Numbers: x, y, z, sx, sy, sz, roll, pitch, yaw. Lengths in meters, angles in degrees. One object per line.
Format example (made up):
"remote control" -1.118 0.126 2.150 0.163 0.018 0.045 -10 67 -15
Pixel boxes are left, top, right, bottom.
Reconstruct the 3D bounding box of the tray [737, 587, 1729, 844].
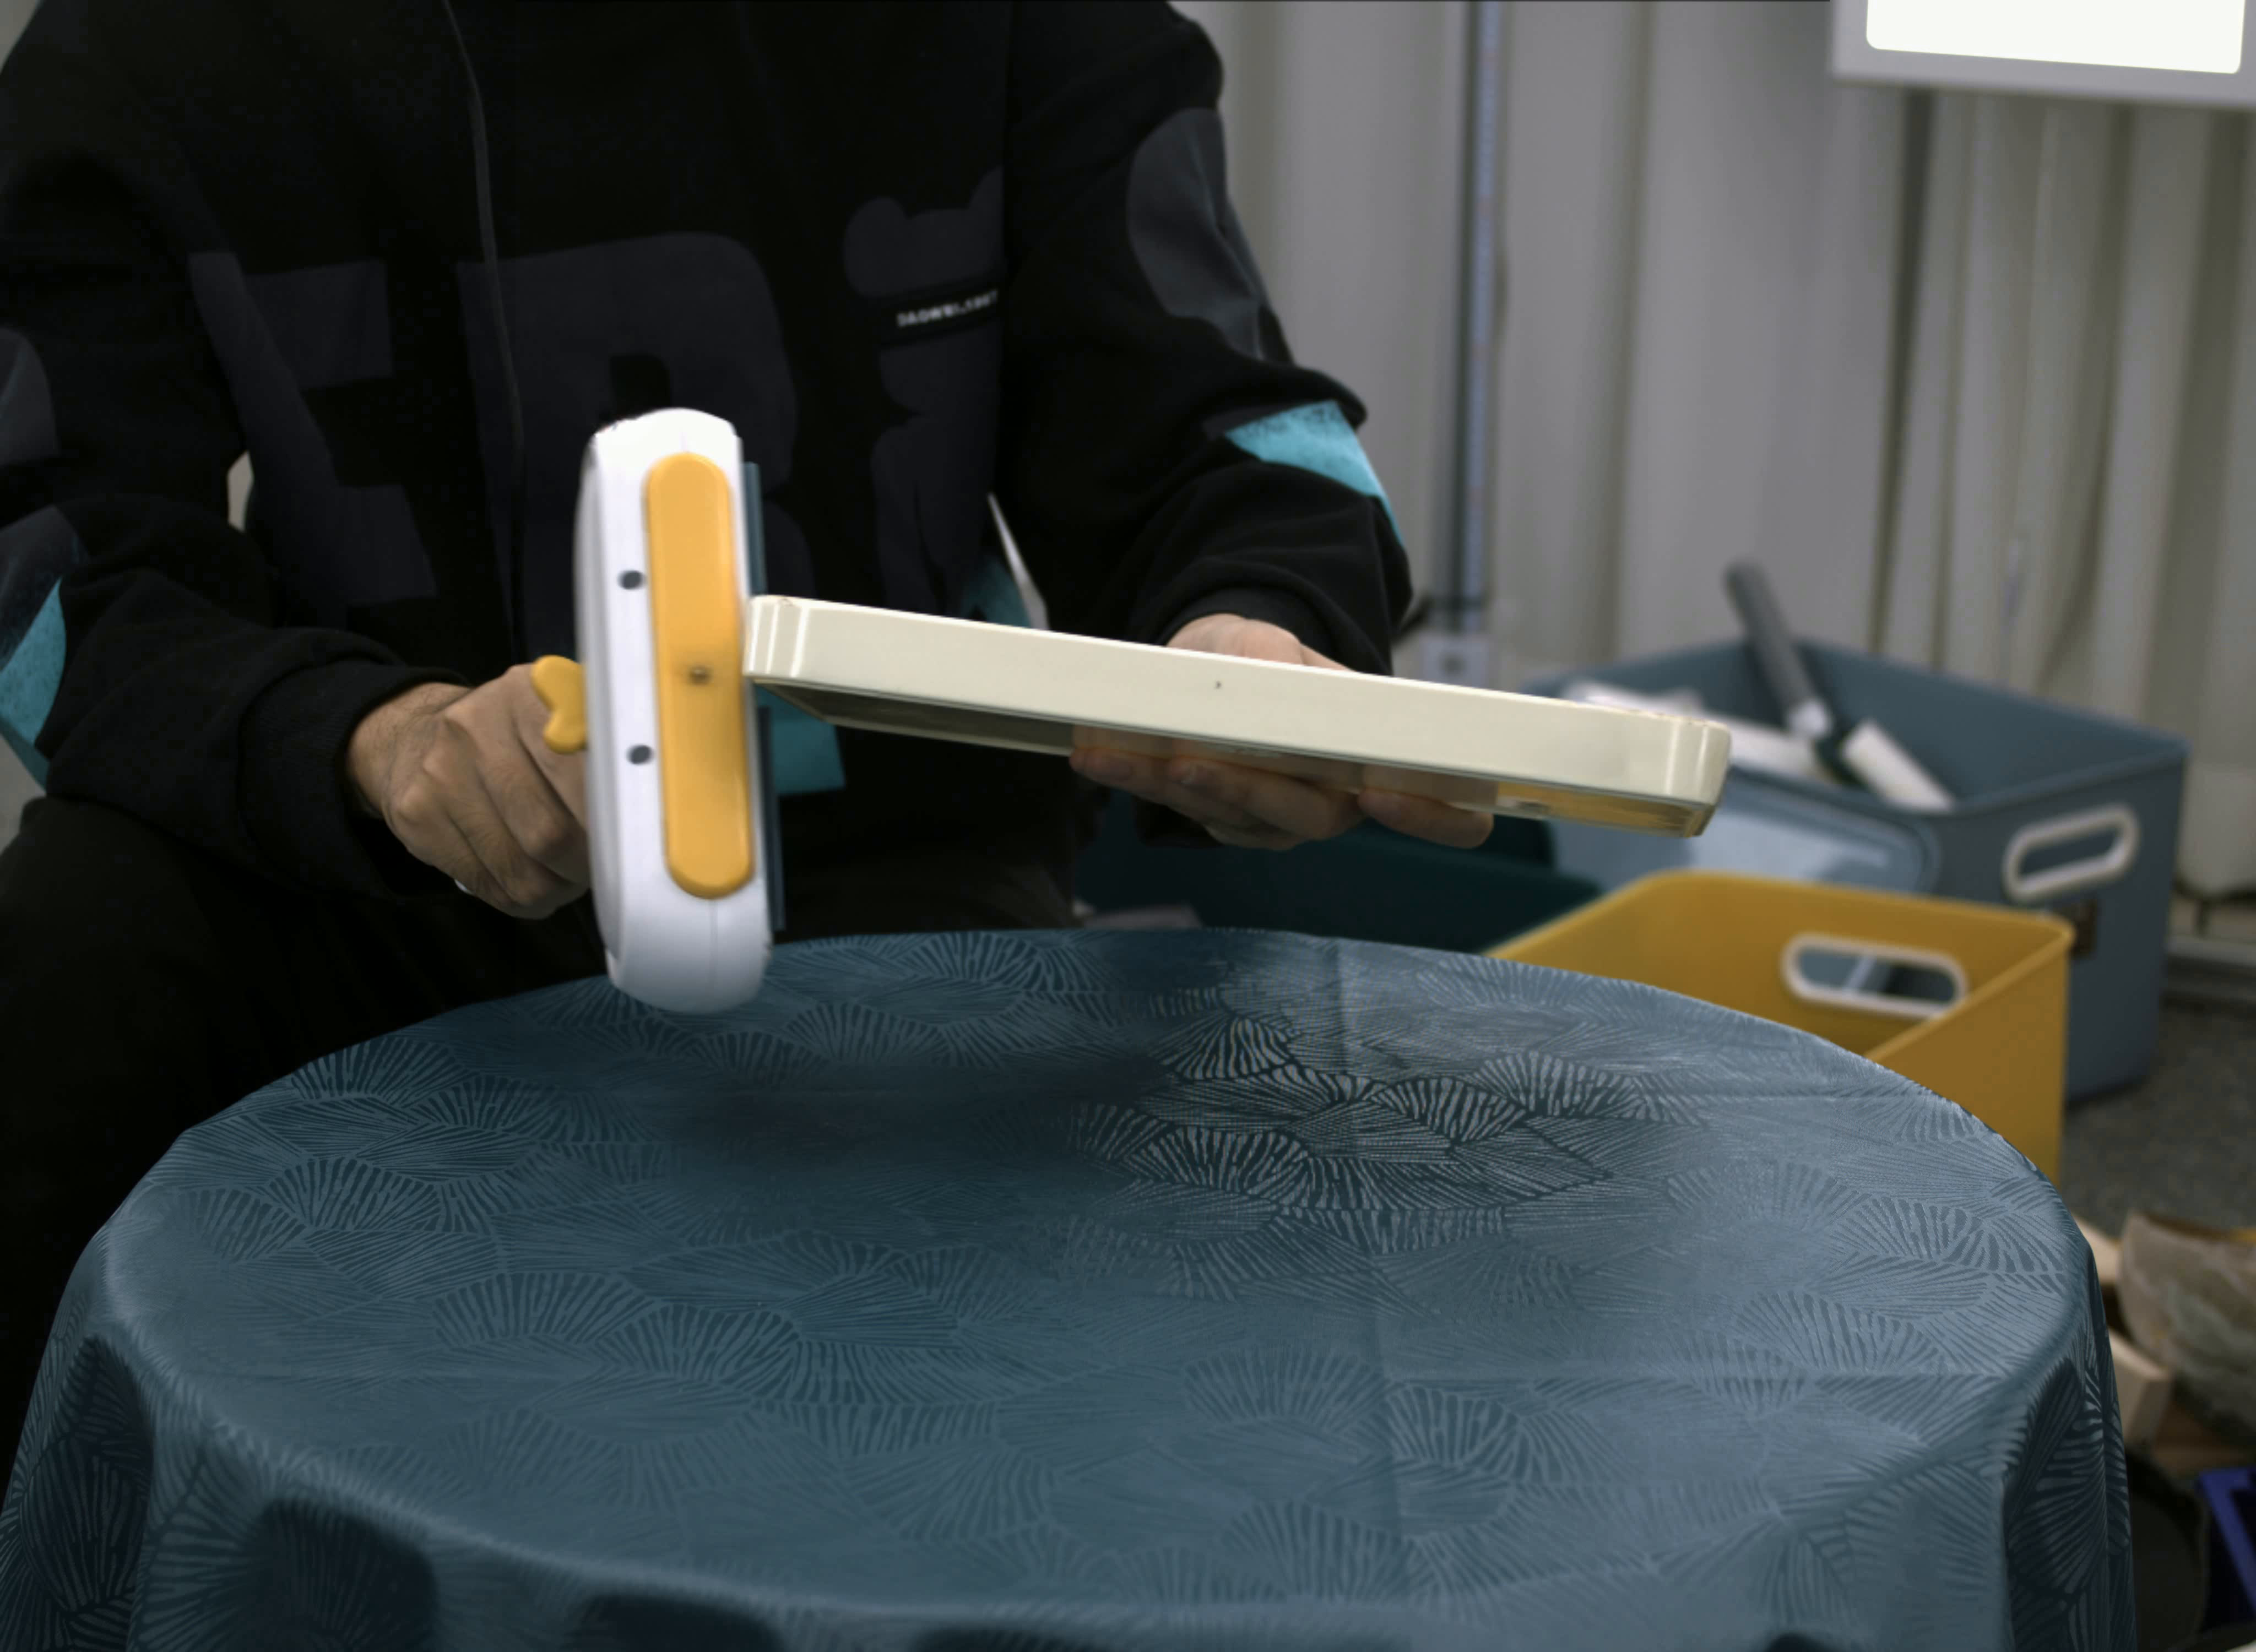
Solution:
"tray" 0.036 -0.032 1.654 0.299 0.027 0.192 8 -4 4

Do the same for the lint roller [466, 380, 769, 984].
"lint roller" -0.167 -0.021 1.680 0.074 0.192 0.193 -4 -22 -19
